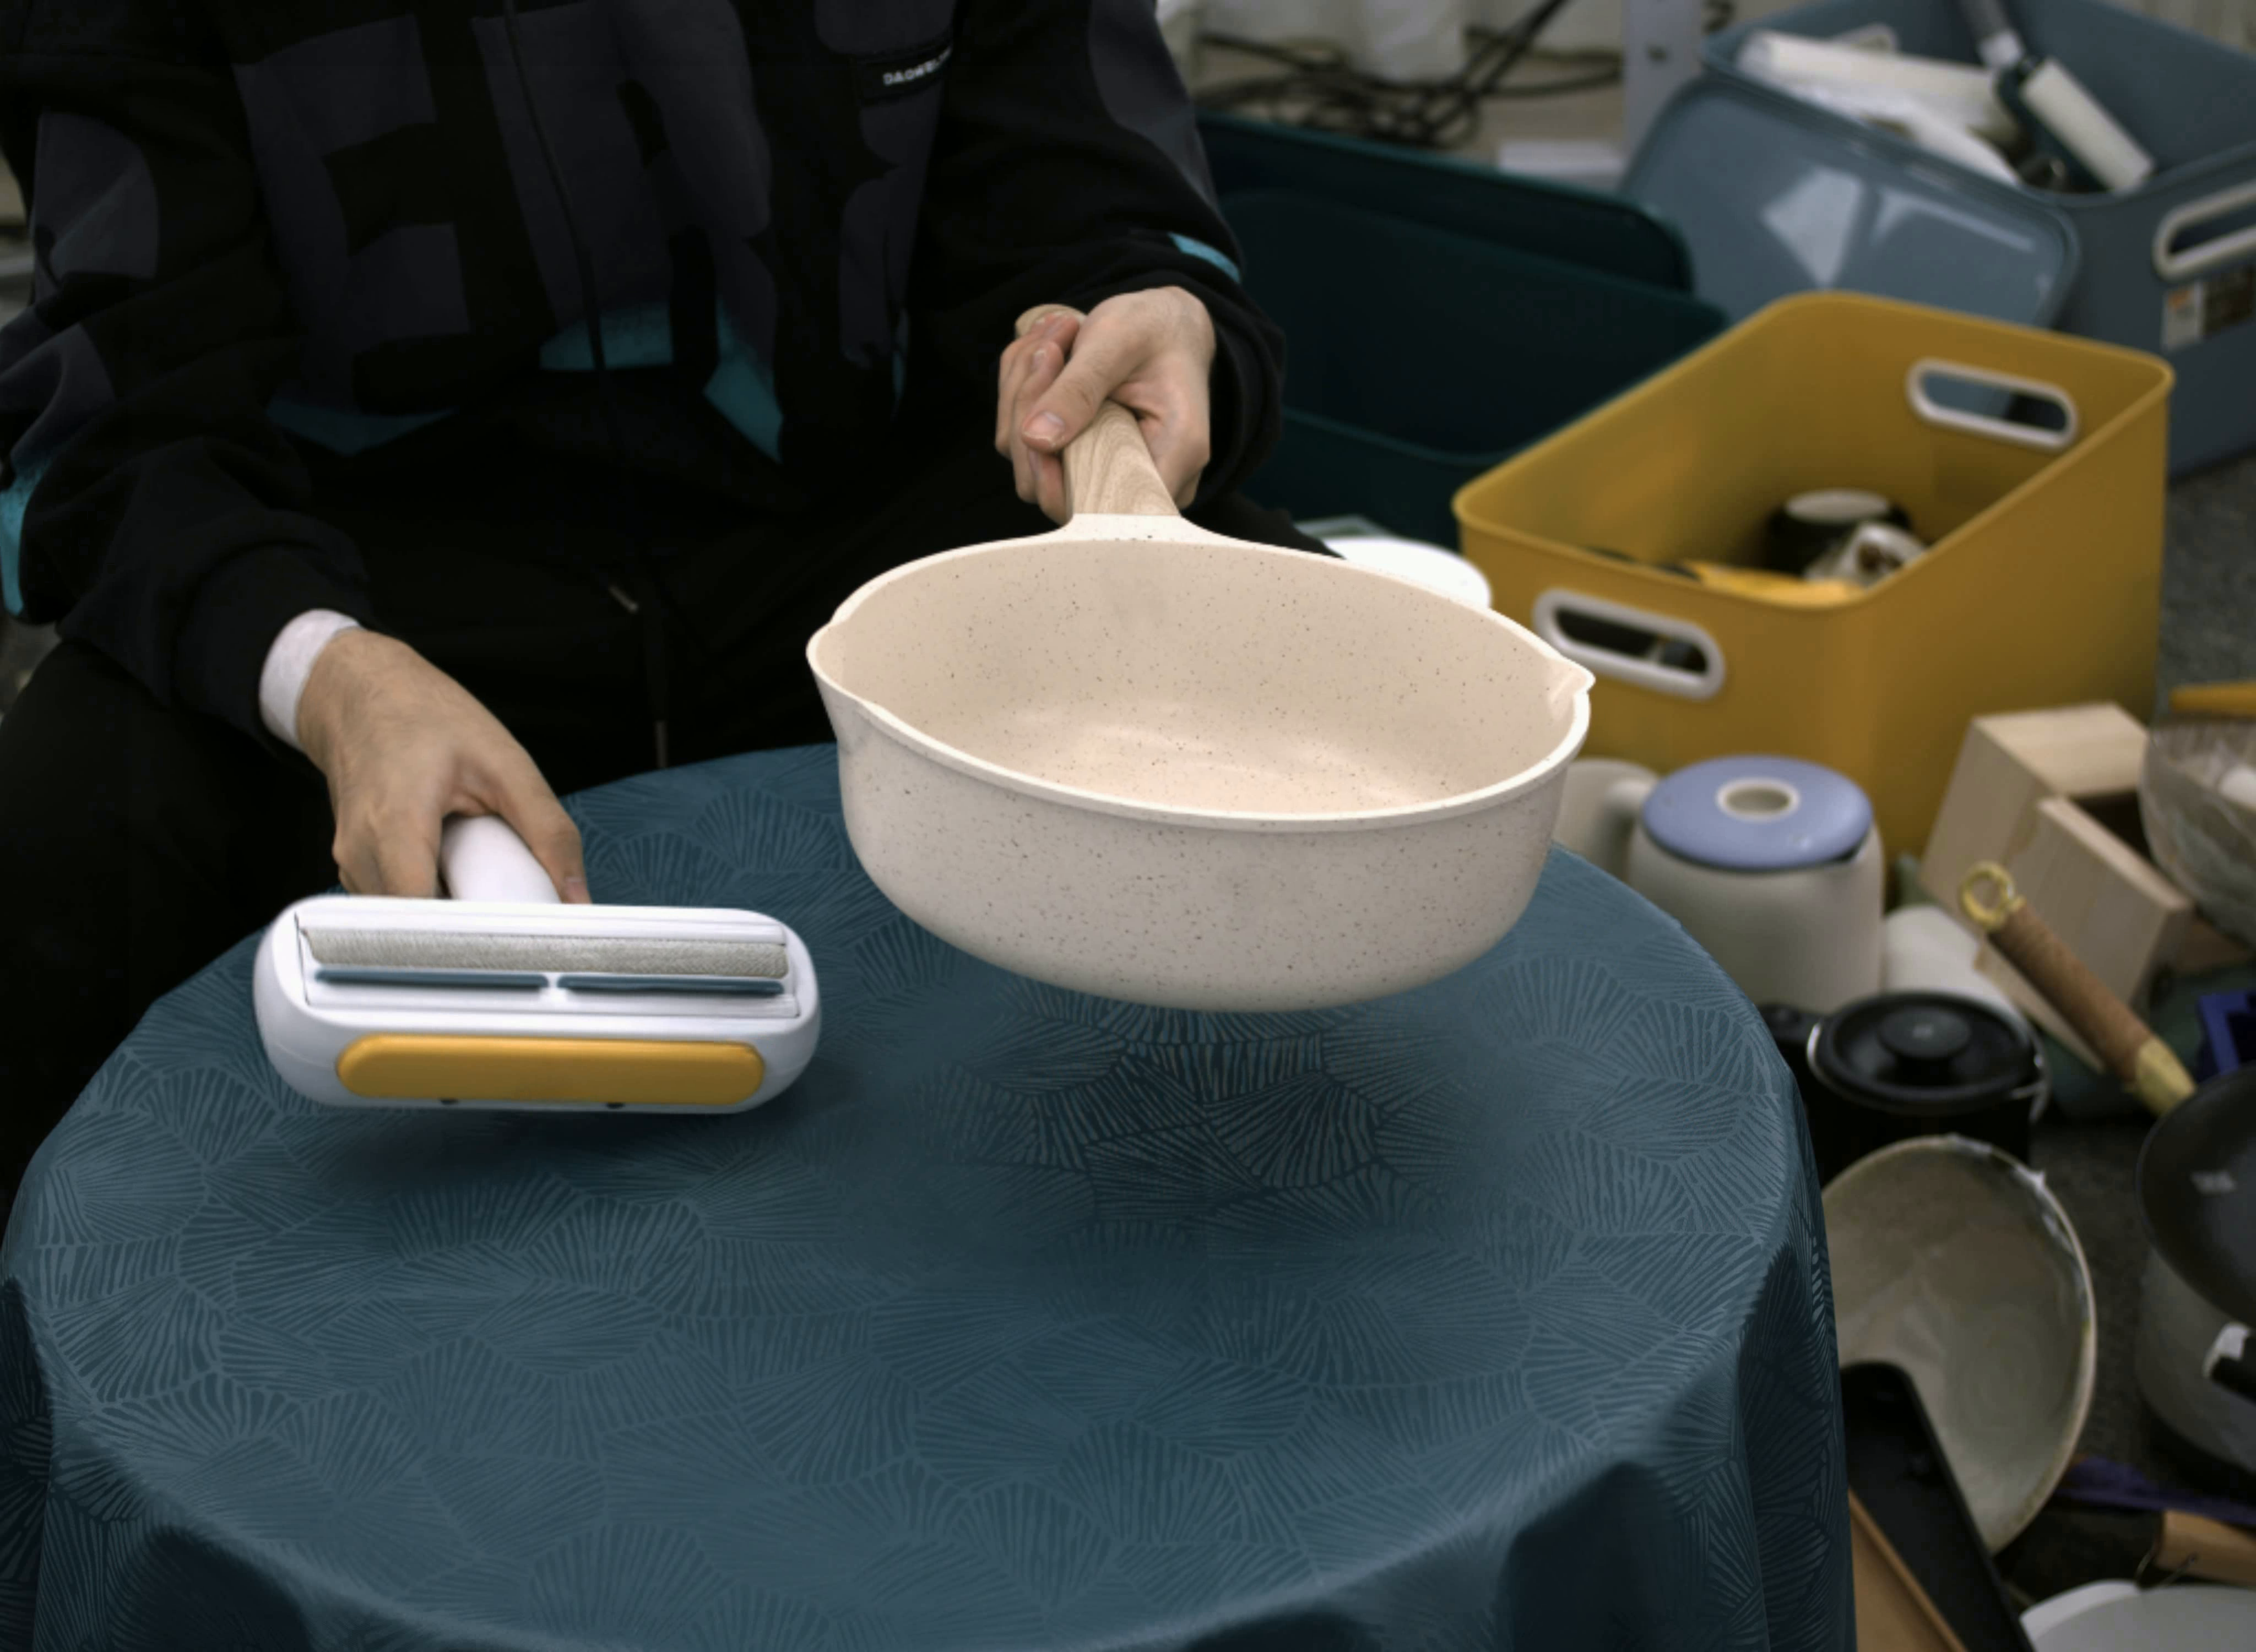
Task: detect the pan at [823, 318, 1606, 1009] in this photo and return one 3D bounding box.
[{"bbox_3d":[0.010,-0.059,1.932,0.263,0.101,0.439,-2,23,-12],"label":"pan"}]

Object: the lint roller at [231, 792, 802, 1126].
[{"bbox_3d":[-0.217,0.035,1.945,0.192,0.073,0.195,0,35,-13],"label":"lint roller"}]
